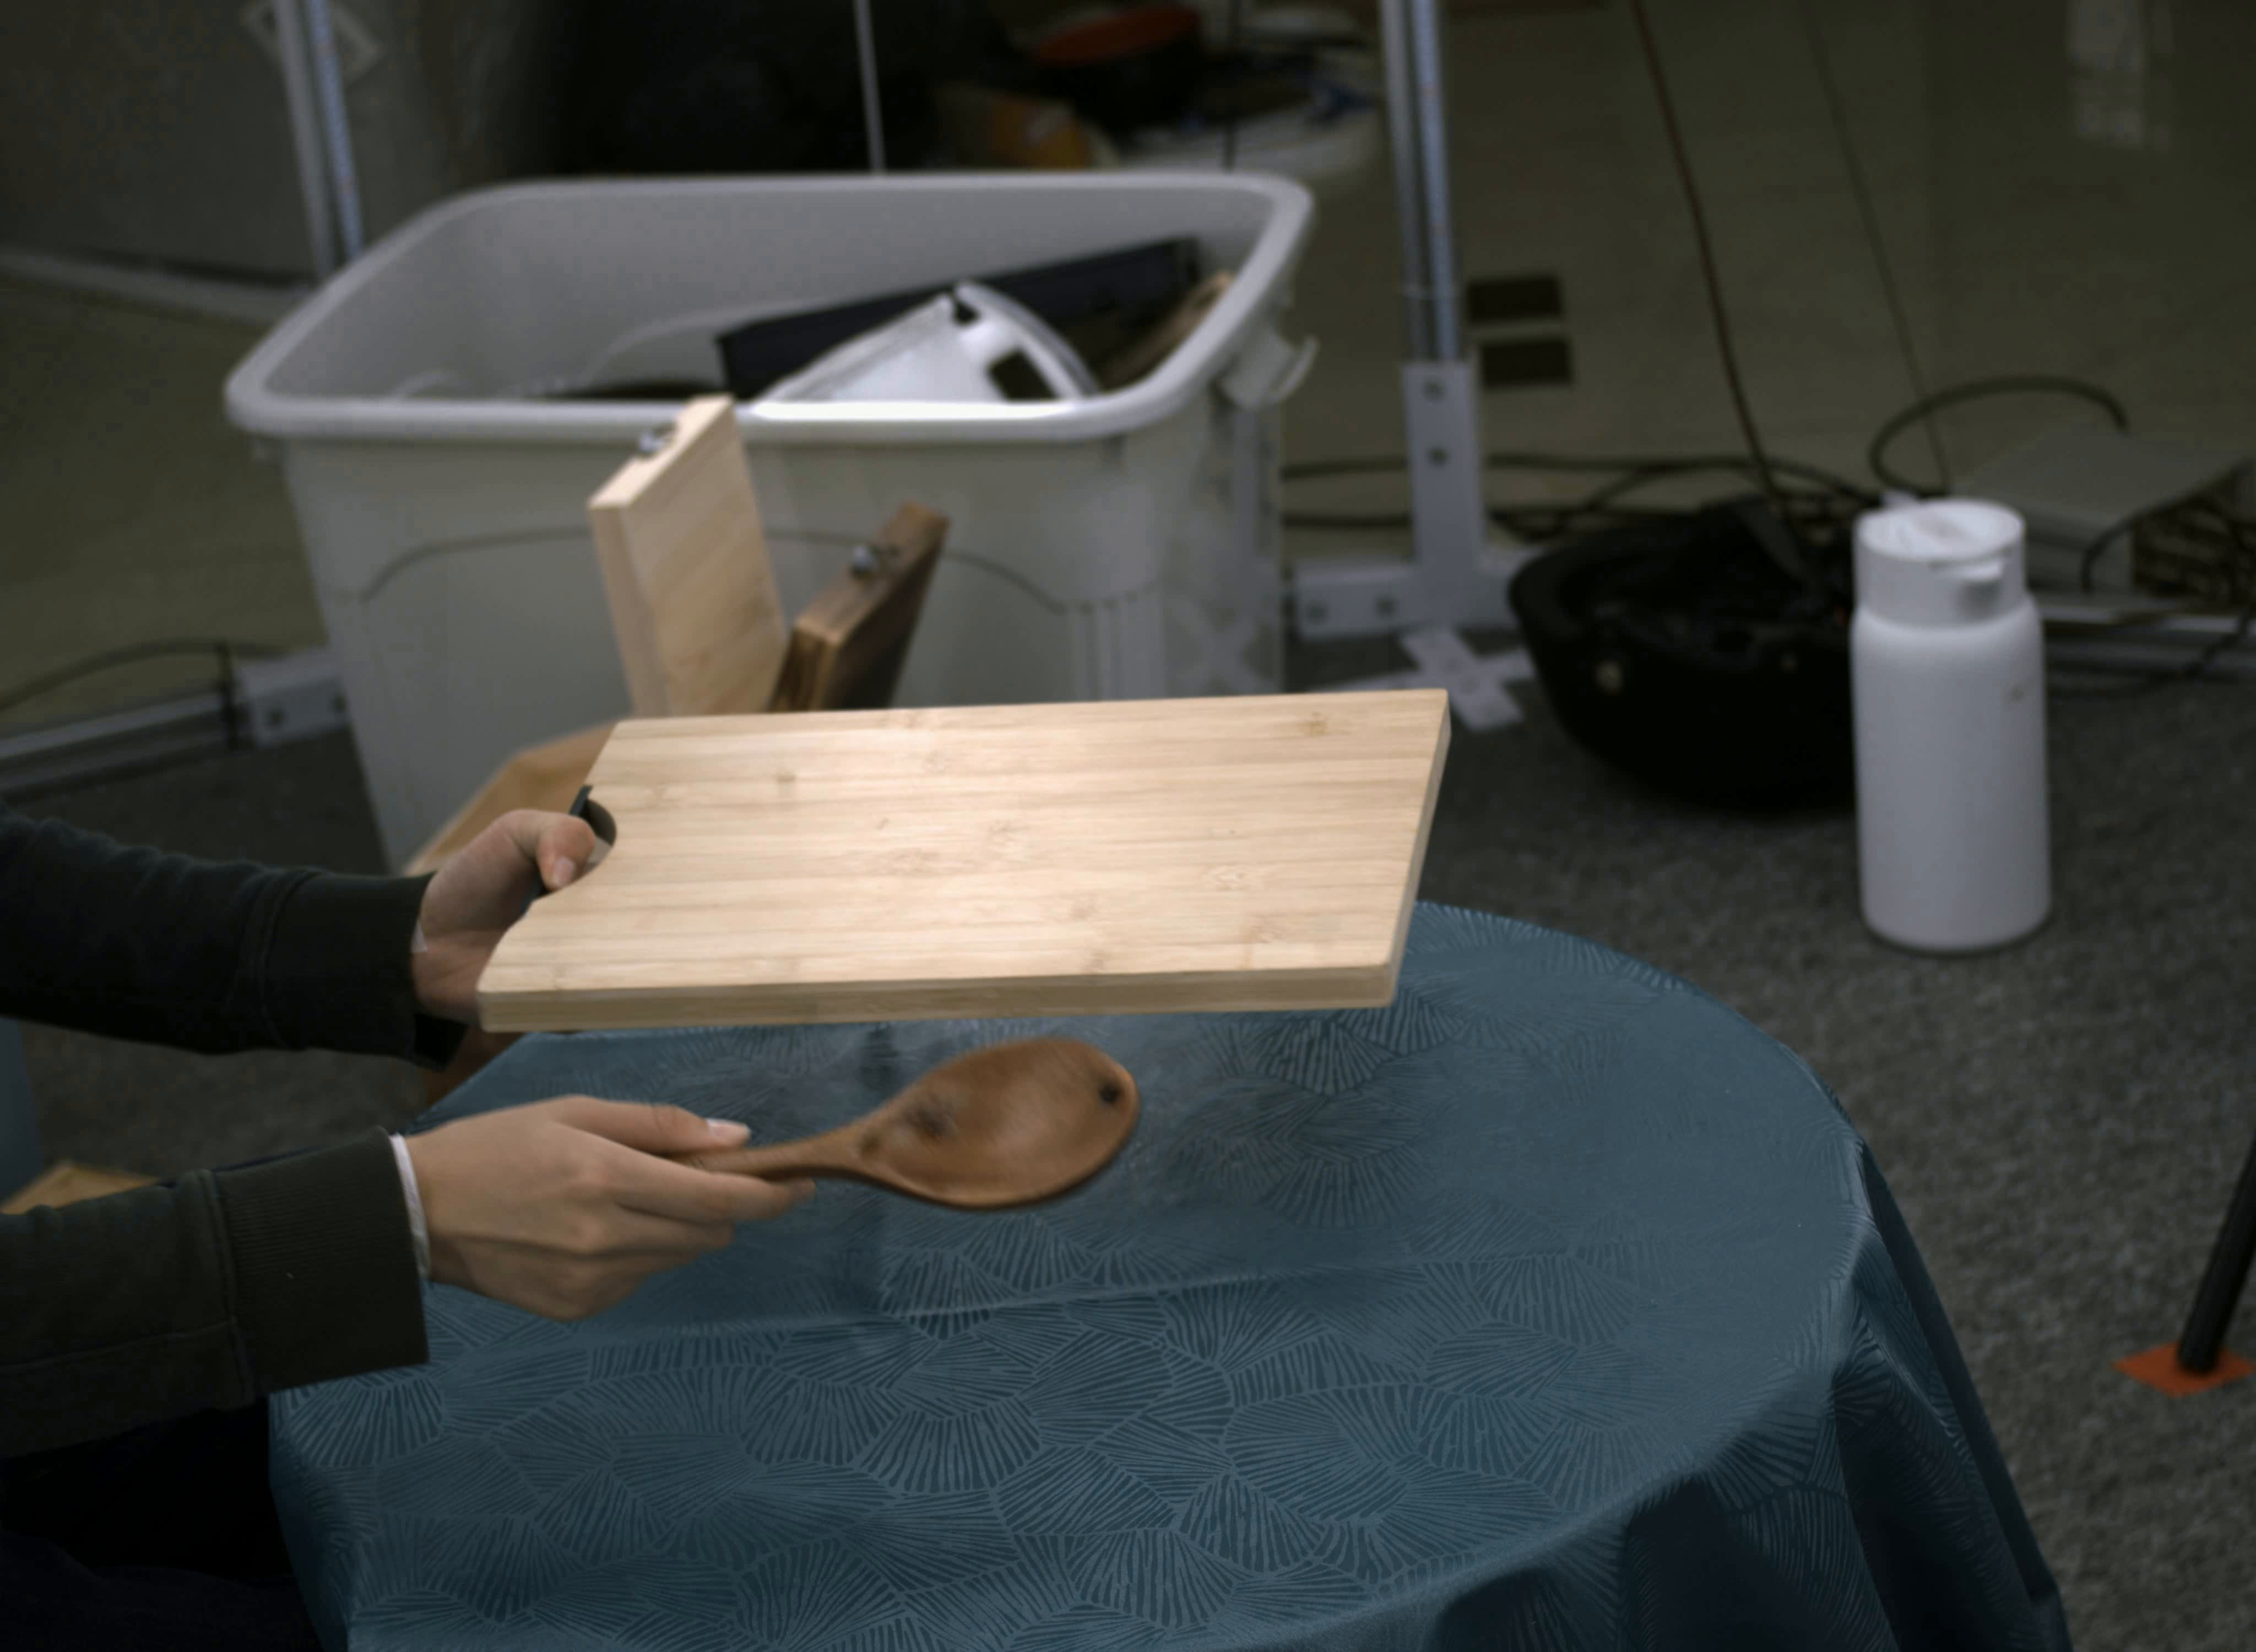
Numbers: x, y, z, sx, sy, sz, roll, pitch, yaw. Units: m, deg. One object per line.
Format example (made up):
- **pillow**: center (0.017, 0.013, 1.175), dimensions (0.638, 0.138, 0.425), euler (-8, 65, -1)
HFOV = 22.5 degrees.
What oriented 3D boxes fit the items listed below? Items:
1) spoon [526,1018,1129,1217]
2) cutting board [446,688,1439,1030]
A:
- **spoon**: center (-0.102, 0.109, 1.936), dimensions (0.216, 0.017, 0.074), euler (-9, 49, 12)
- **cutting board**: center (-0.064, 0.011, 2.161), dimensions (0.348, 0.024, 0.247), euler (-2, 25, 10)
